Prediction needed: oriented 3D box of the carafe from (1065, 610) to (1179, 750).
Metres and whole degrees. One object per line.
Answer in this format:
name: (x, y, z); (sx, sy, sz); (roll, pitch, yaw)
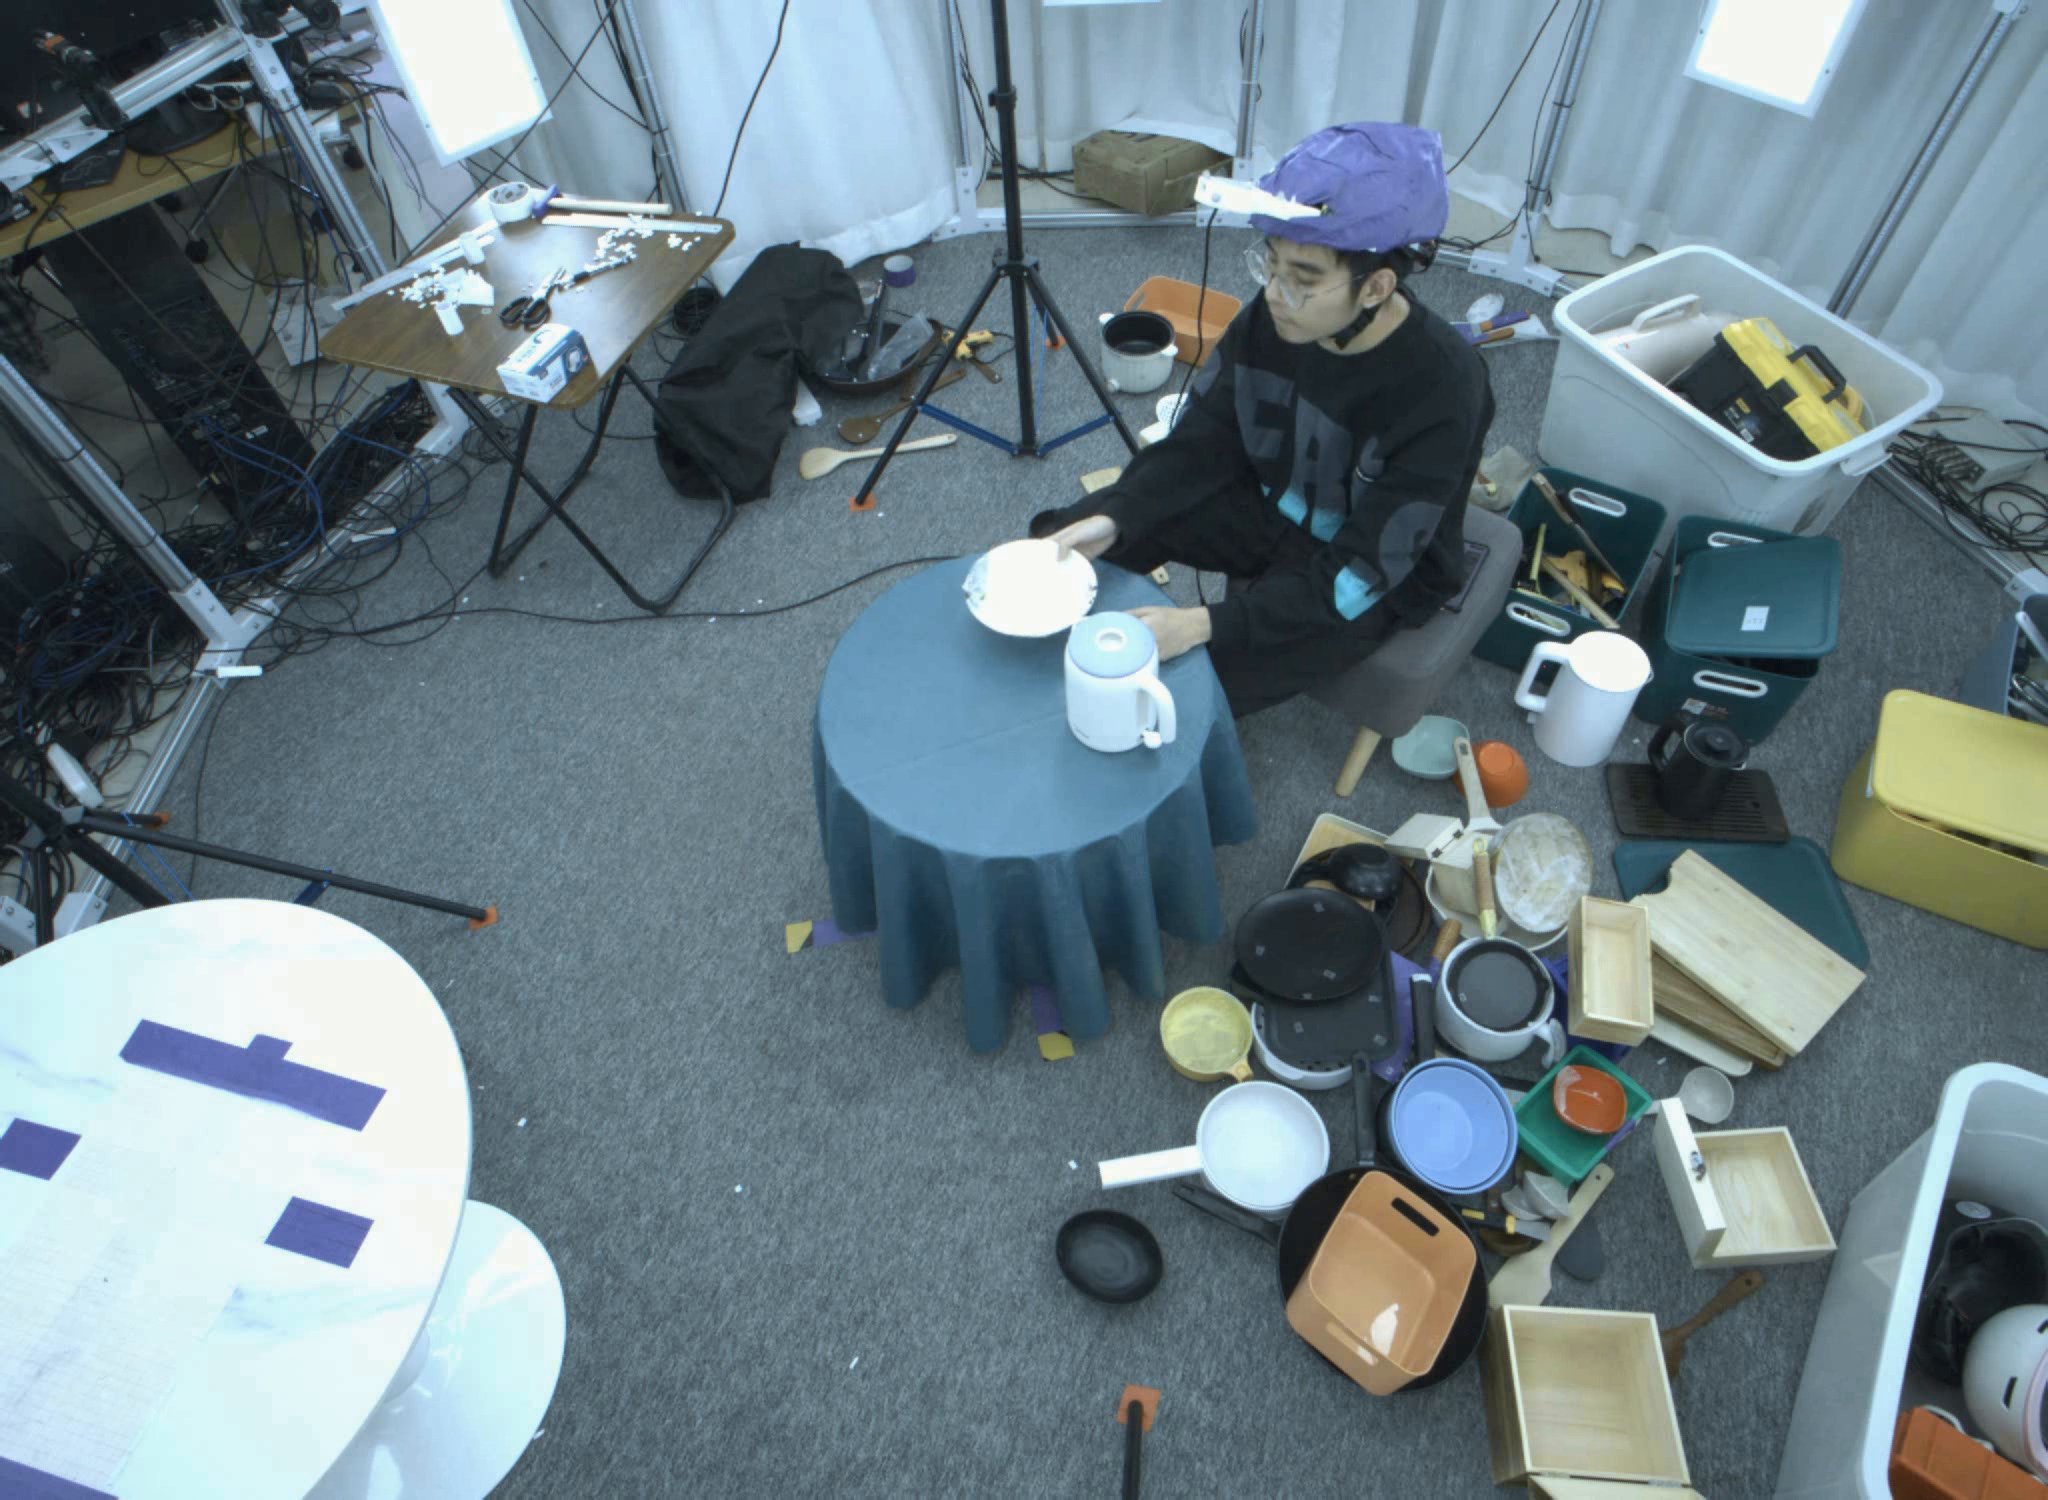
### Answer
carafe: (0.142, -0.084, 1.733); (0.188, 0.184, 0.133); (38, 66, 23)

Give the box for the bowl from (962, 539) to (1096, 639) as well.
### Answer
bowl: (0.008, -0.229, 1.900); (0.204, 0.078, 0.202); (1, 54, 0)
